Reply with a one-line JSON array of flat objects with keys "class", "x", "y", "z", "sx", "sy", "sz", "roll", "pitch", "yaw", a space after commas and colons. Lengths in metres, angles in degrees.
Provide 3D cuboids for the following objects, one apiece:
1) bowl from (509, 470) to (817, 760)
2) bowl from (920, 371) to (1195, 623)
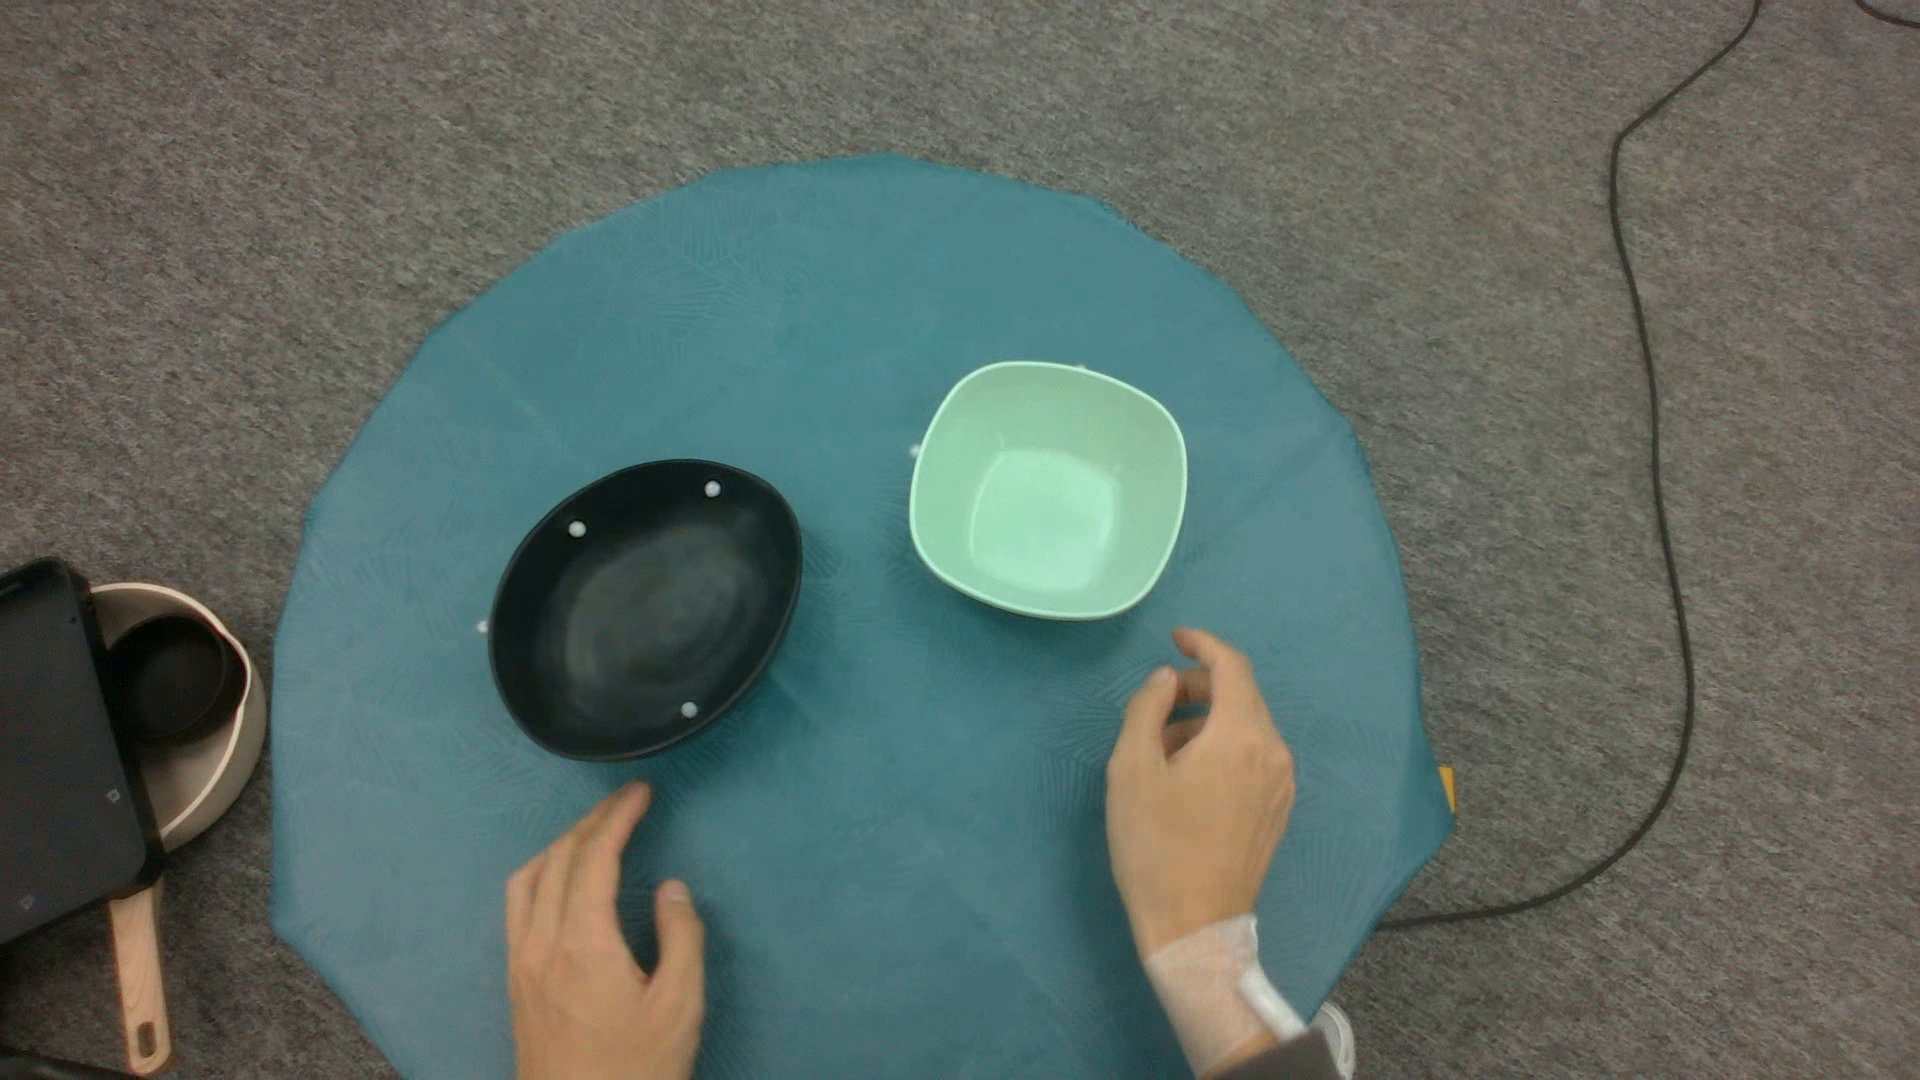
[{"class": "bowl", "x": -0.147, "y": 0.041, "z": 0.713, "sx": 0.137, "sy": 0.066, "sz": 0.171, "roll": 35, "pitch": 71, "yaw": 13}, {"class": "bowl", "x": 0.052, "y": -0.015, "z": 0.735, "sx": 0.151, "sy": 0.058, "sz": 0.152, "roll": -1, "pitch": 67, "yaw": 2}]
